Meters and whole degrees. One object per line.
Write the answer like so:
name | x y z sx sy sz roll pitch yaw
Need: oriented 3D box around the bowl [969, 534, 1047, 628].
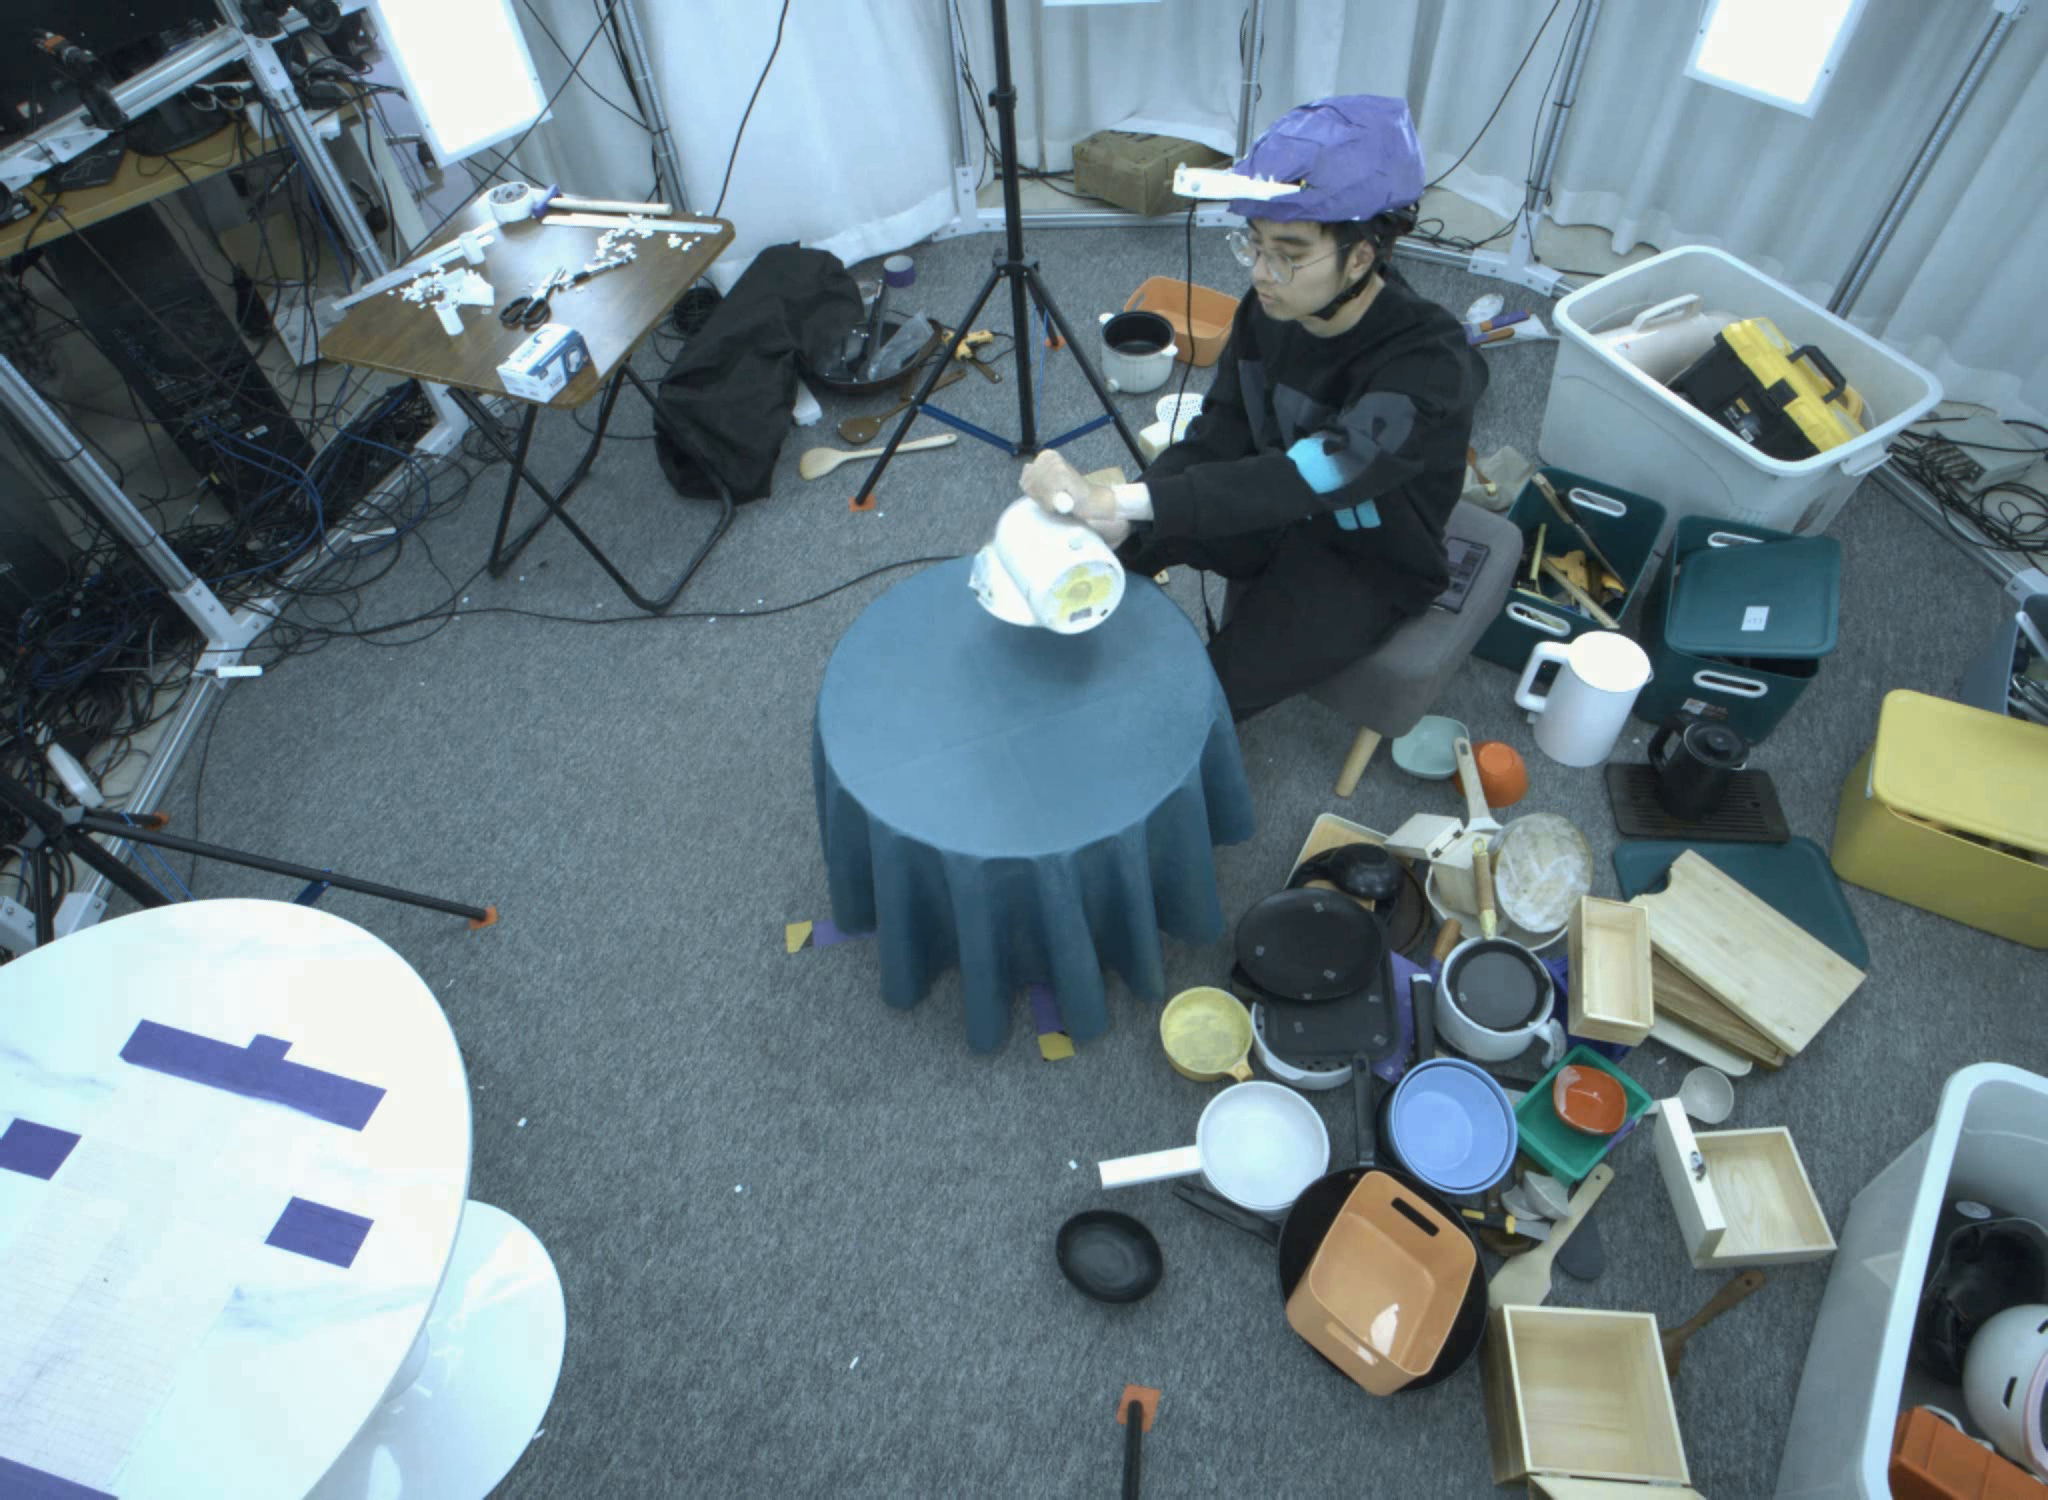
bowl | 0.019 -0.243 1.862 0.204 0.078 0.202 1 56 -1

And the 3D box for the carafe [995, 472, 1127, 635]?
carafe | 0.046 -0.271 1.635 0.133 0.193 0.179 -17 51 -18
